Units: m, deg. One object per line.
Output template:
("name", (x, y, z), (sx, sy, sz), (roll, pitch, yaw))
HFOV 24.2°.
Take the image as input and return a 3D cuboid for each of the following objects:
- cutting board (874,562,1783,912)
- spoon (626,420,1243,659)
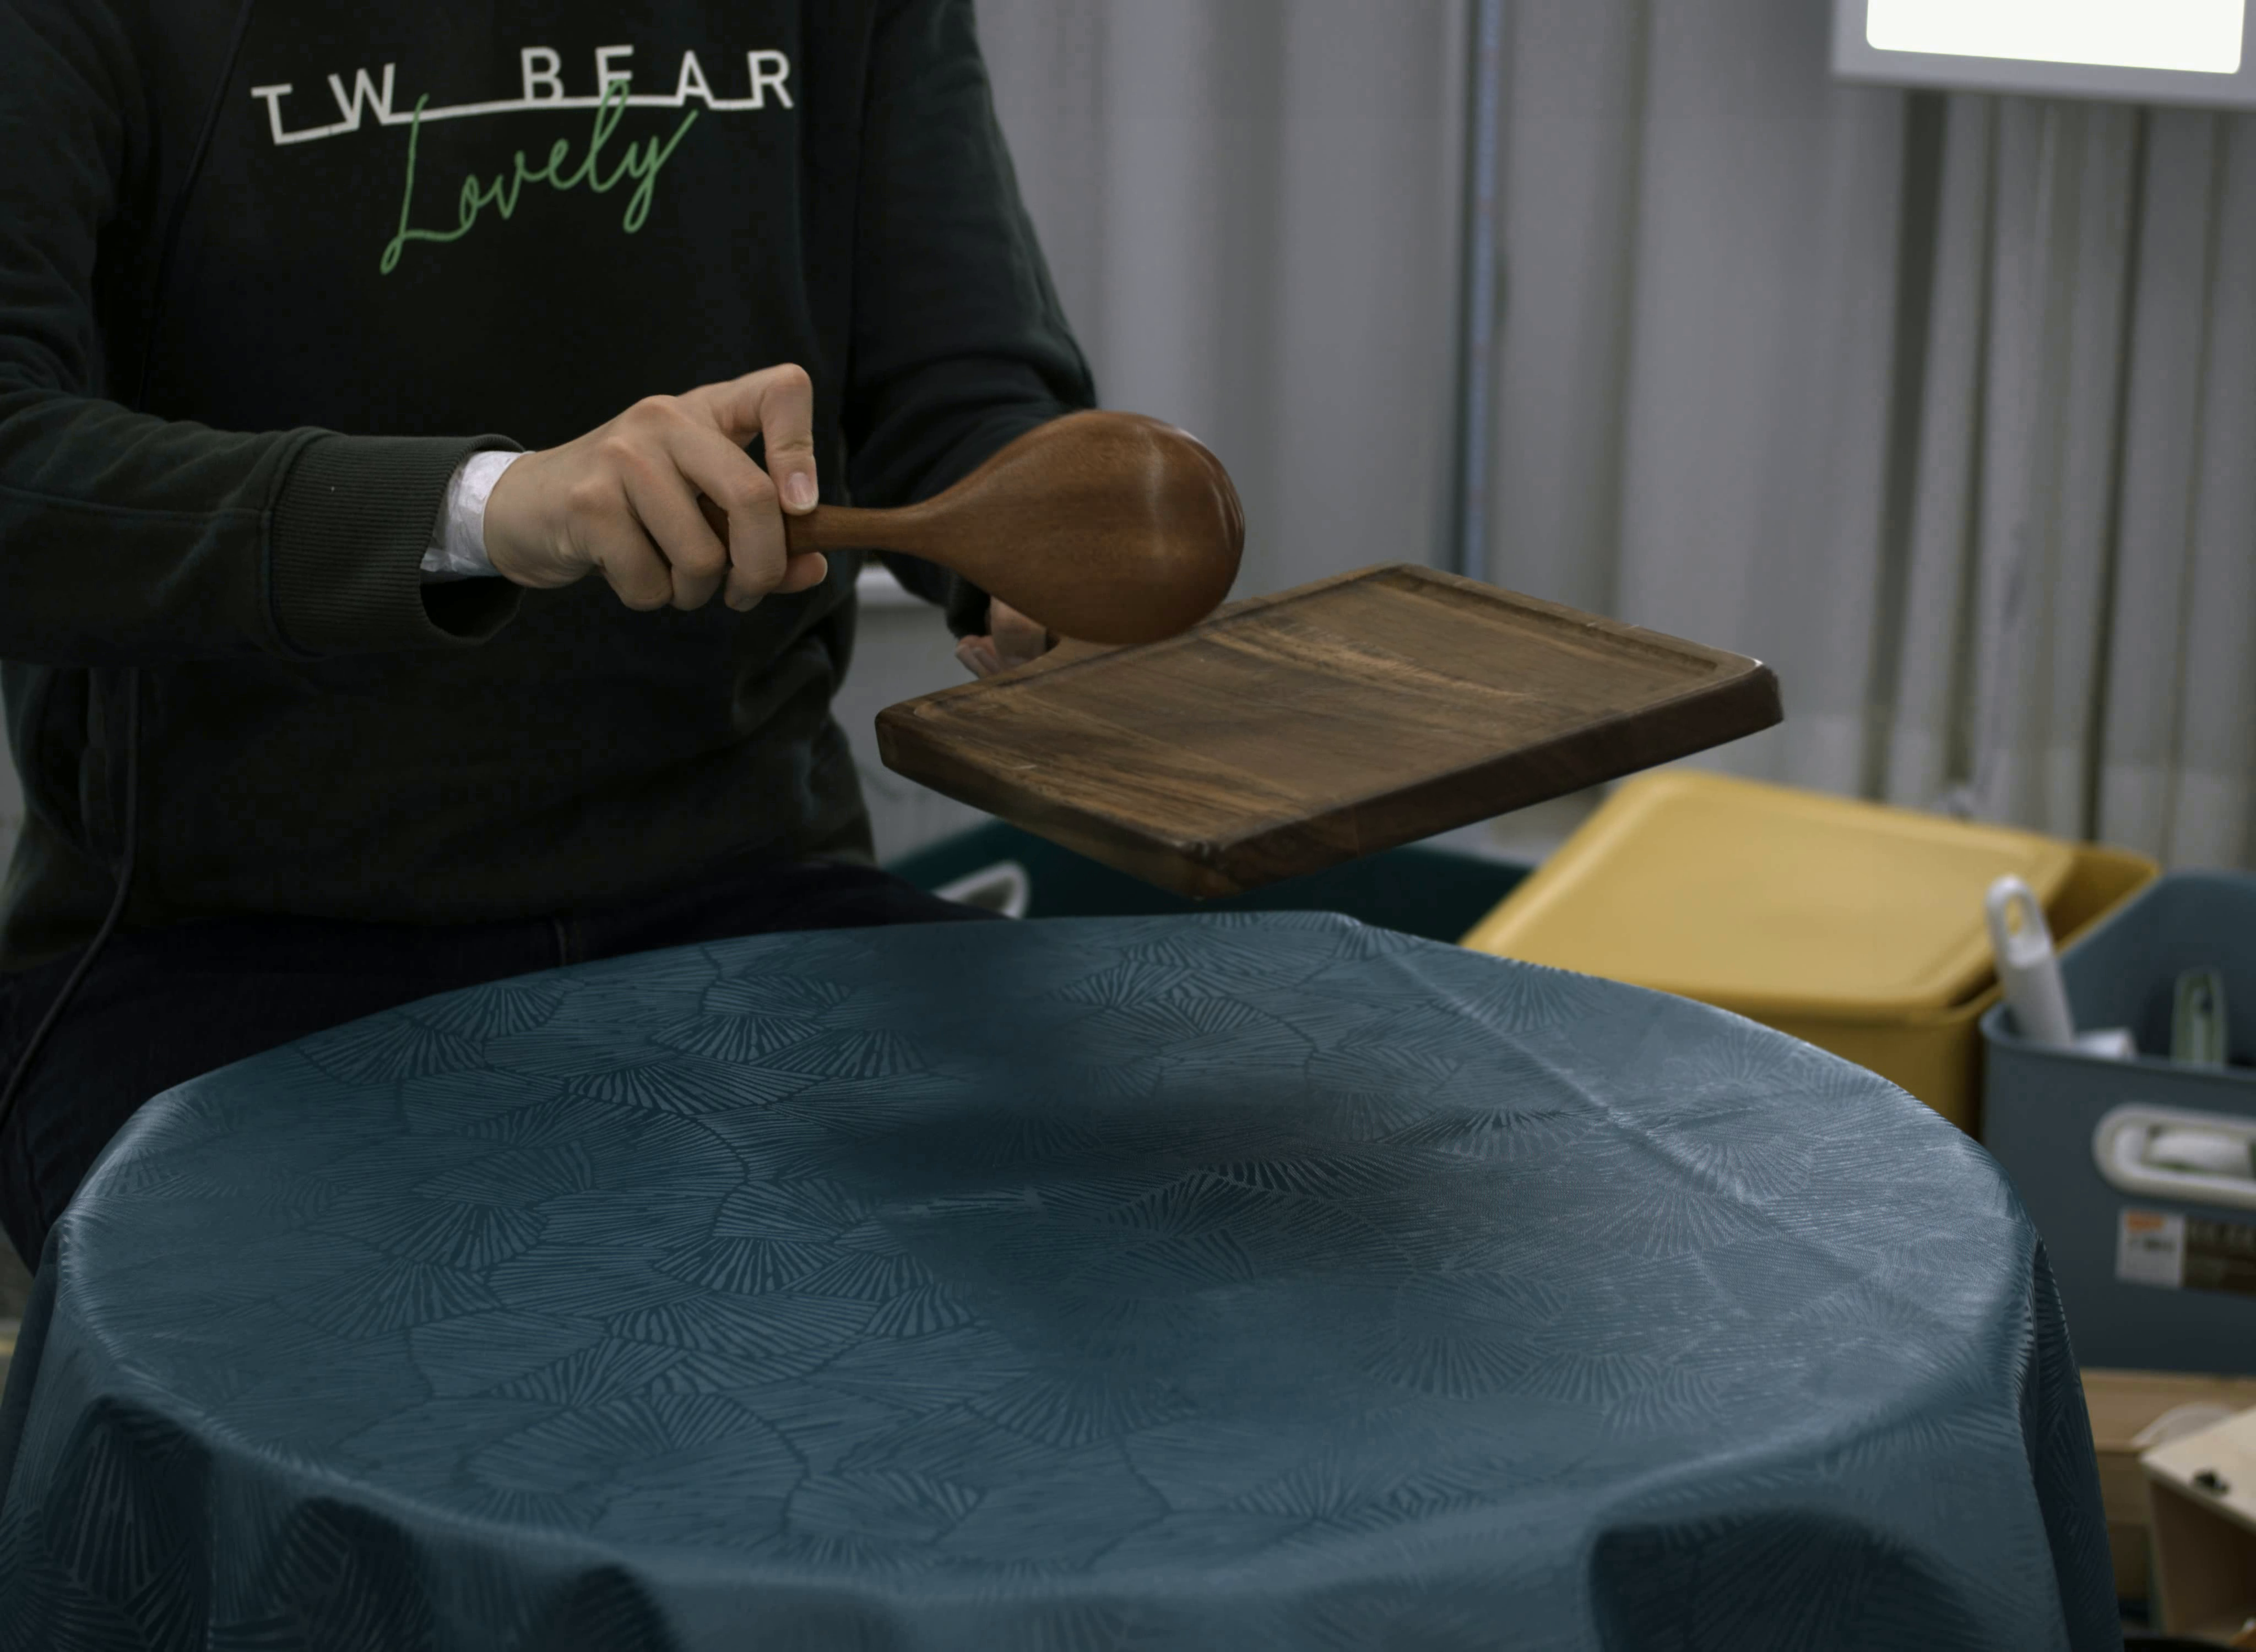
("cutting board", (0.036, -0.040, 1.661), (0.201, 0.023, 0.348), (-18, 17, -21))
("spoon", (-0.063, -0.090, 1.637), (0.213, 0.076, 0.017), (4, 18, 26))
